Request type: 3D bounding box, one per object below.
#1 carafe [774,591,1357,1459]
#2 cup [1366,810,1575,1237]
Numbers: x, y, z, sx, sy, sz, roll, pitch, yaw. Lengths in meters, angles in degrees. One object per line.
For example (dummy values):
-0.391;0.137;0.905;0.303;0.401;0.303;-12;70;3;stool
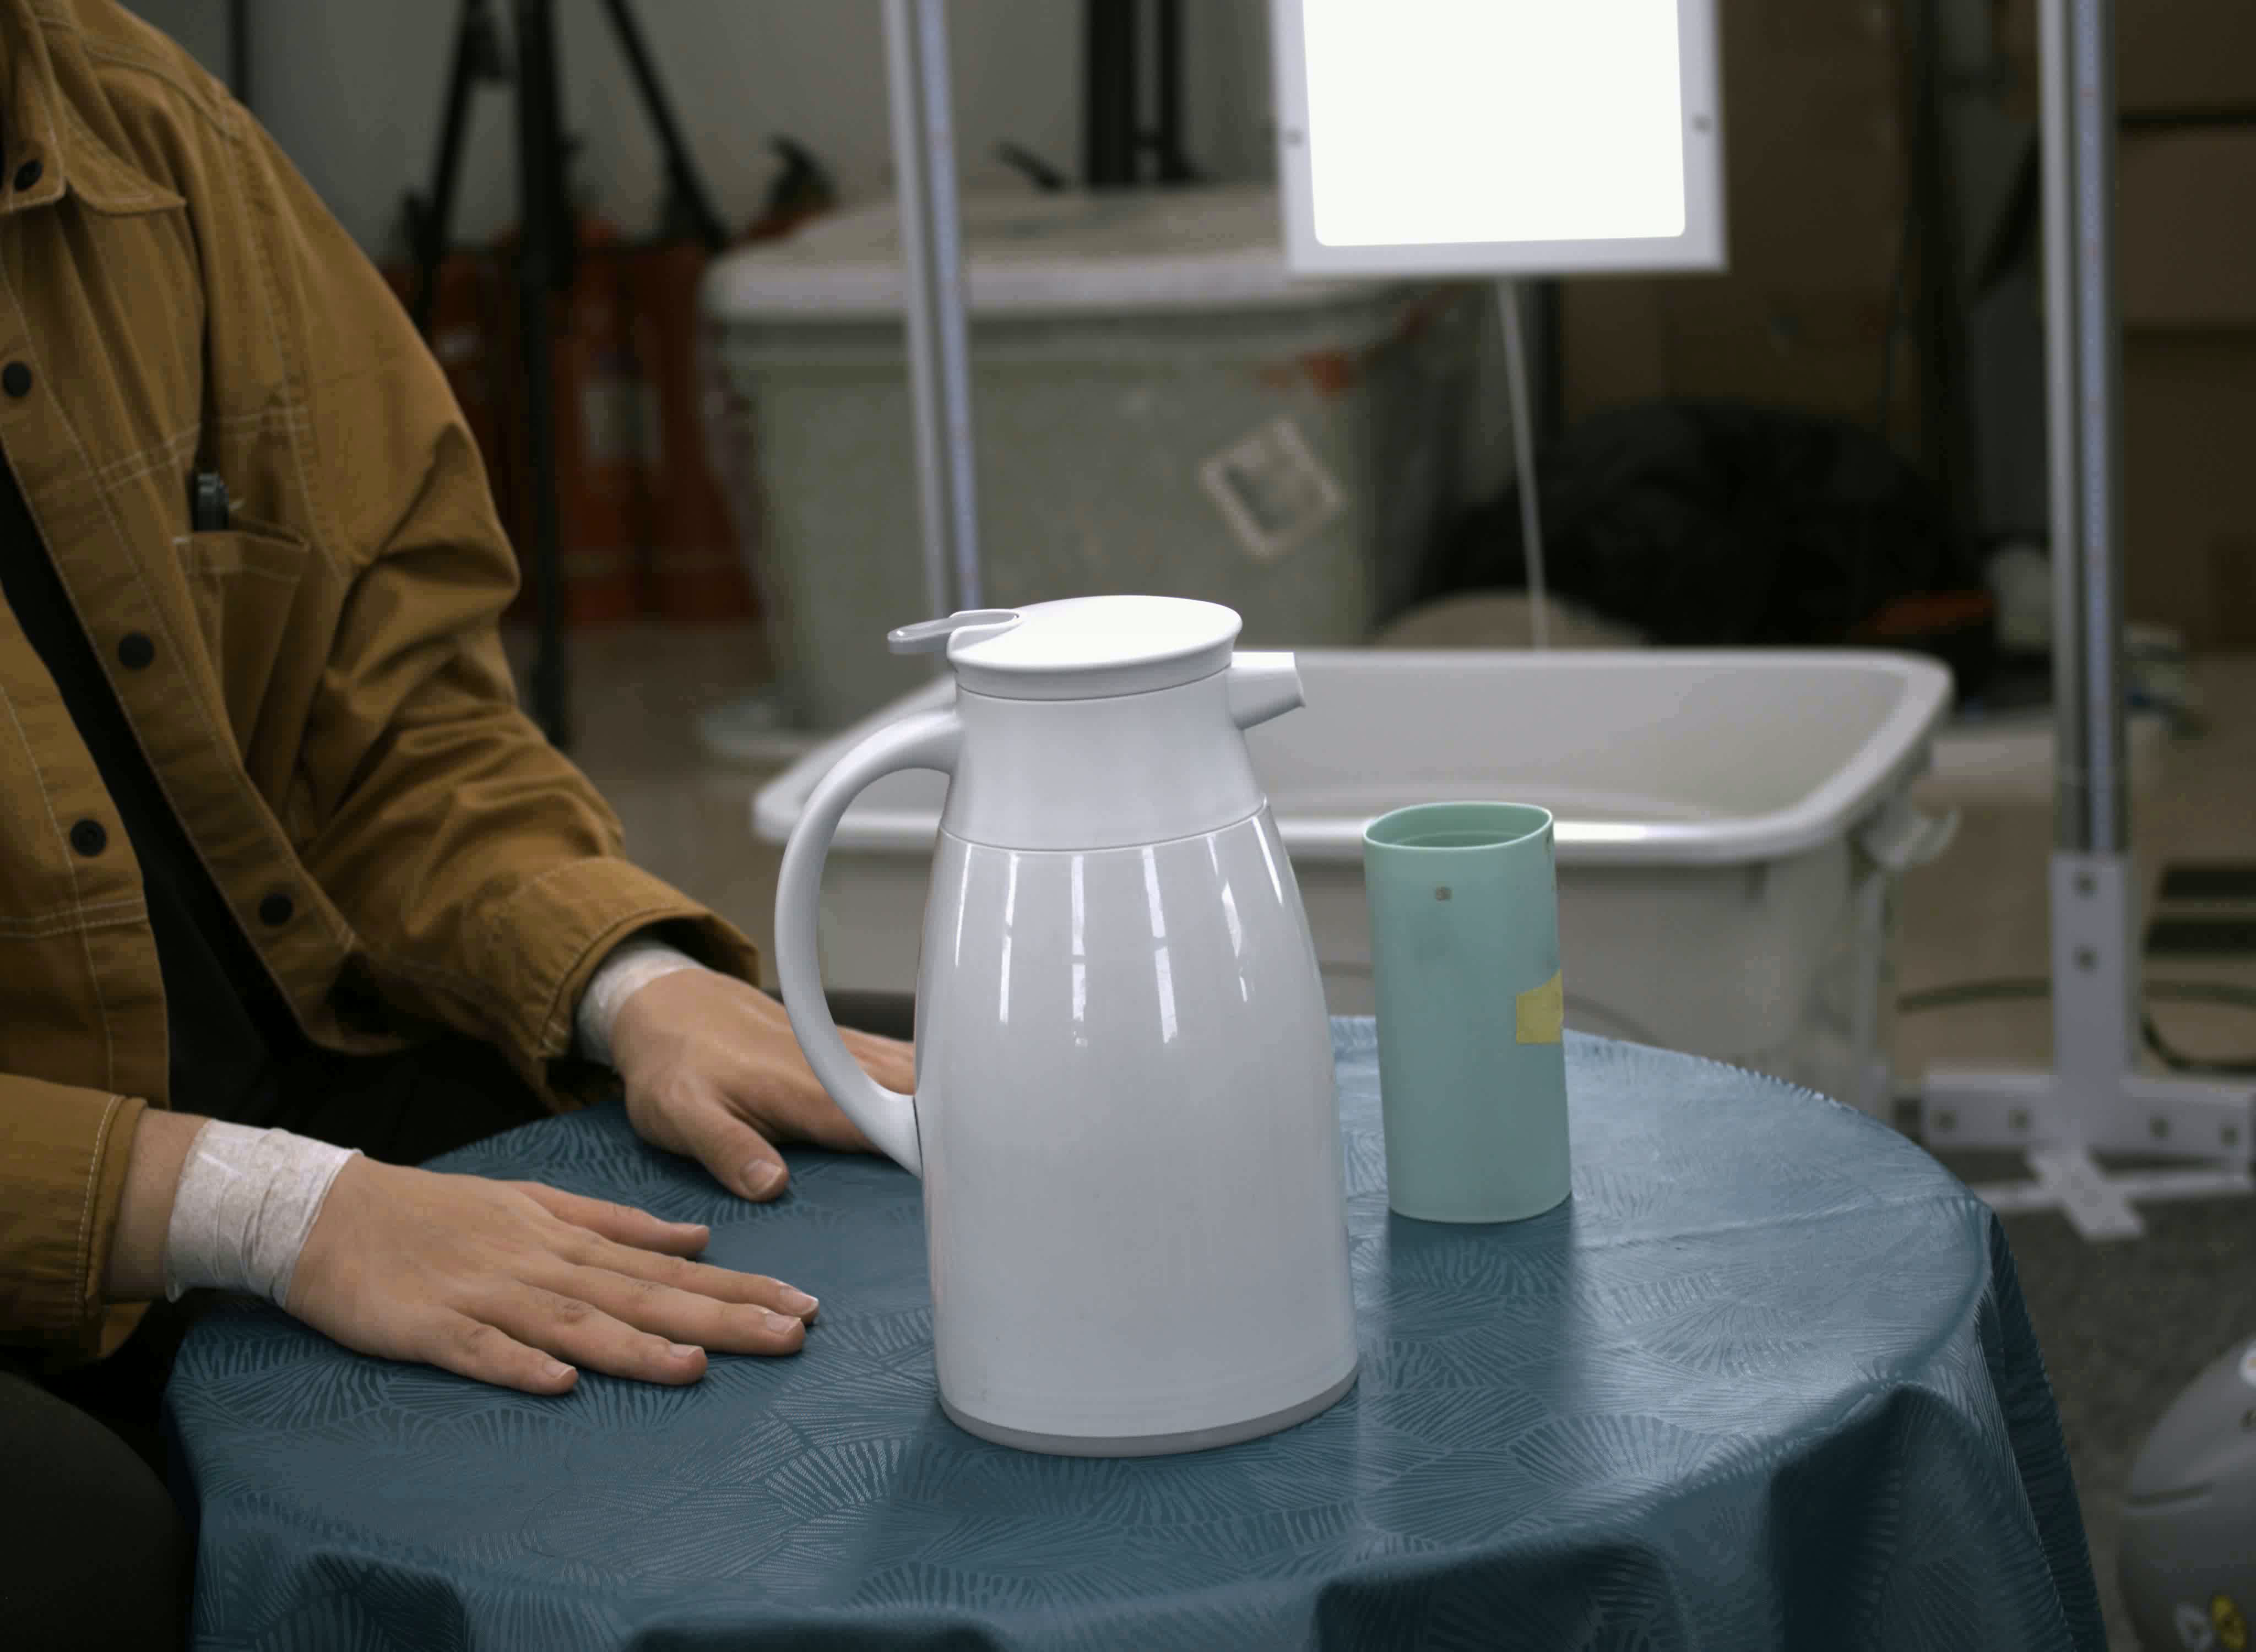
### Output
-0.022;0.055;1.677;0.167;0.249;0.132;-5;14;1;carafe
0.115;0.065;1.846;0.066;0.133;0.066;-4;14;0;cup
